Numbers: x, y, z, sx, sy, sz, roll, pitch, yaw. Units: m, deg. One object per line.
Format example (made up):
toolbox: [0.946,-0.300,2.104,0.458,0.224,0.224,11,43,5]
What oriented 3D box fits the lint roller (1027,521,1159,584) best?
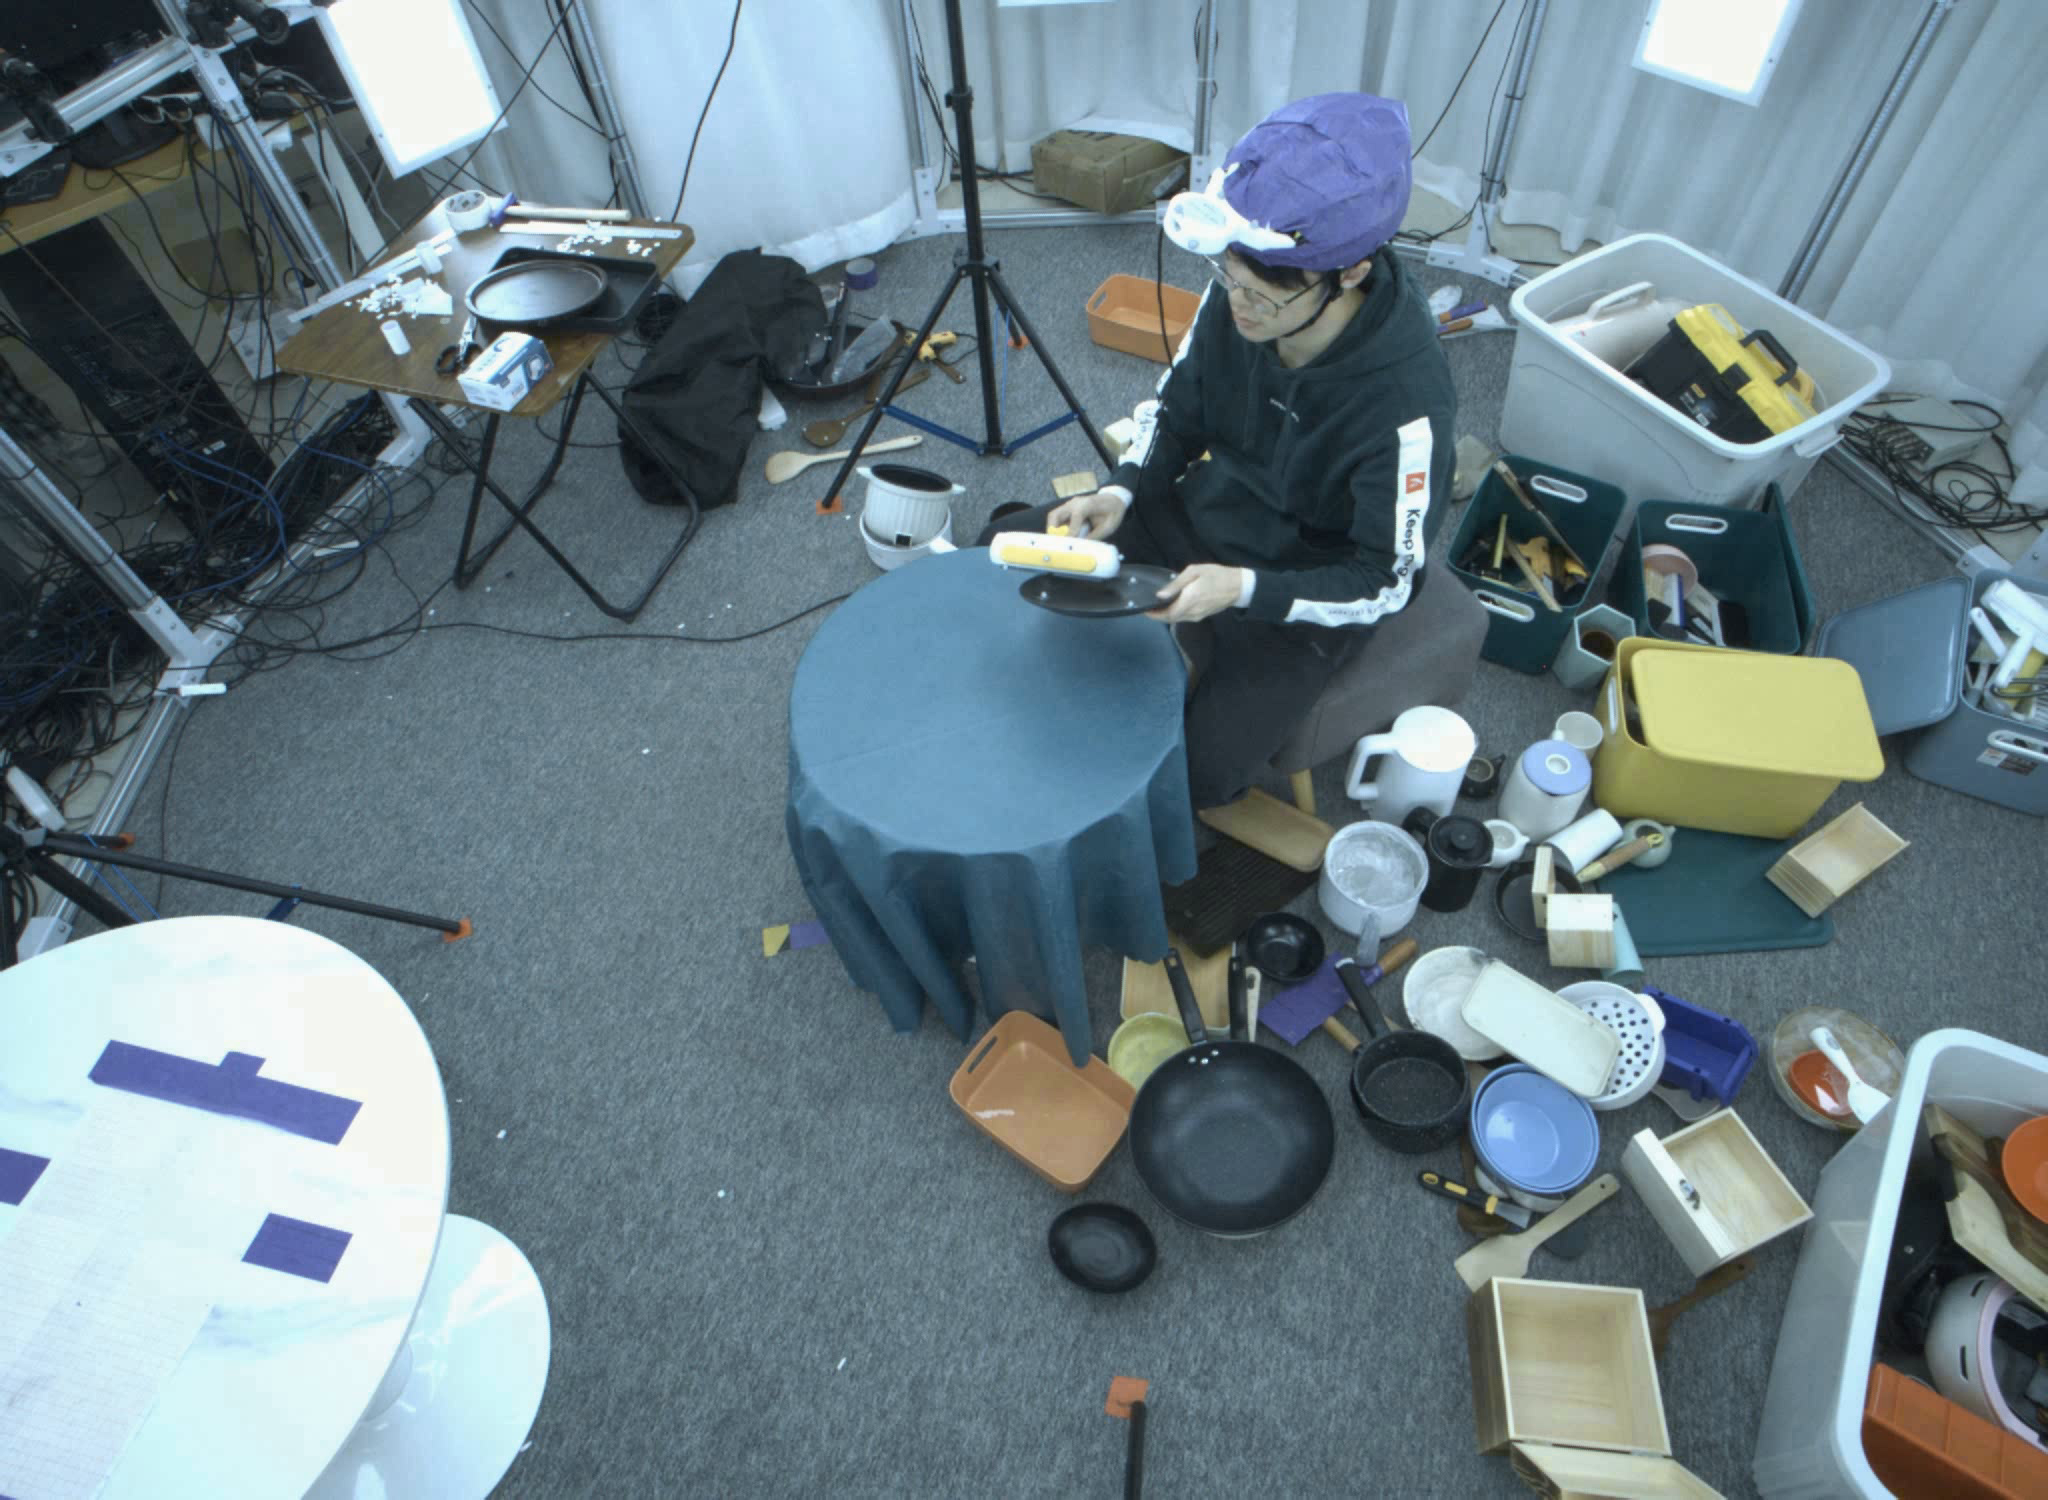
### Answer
lint roller: [0.114,-0.301,1.831,0.191,0.074,0.193,6,19,14]

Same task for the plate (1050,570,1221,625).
plate: [0.158,-0.216,1.759,0.244,0.023,0.242,-1,23,2]
